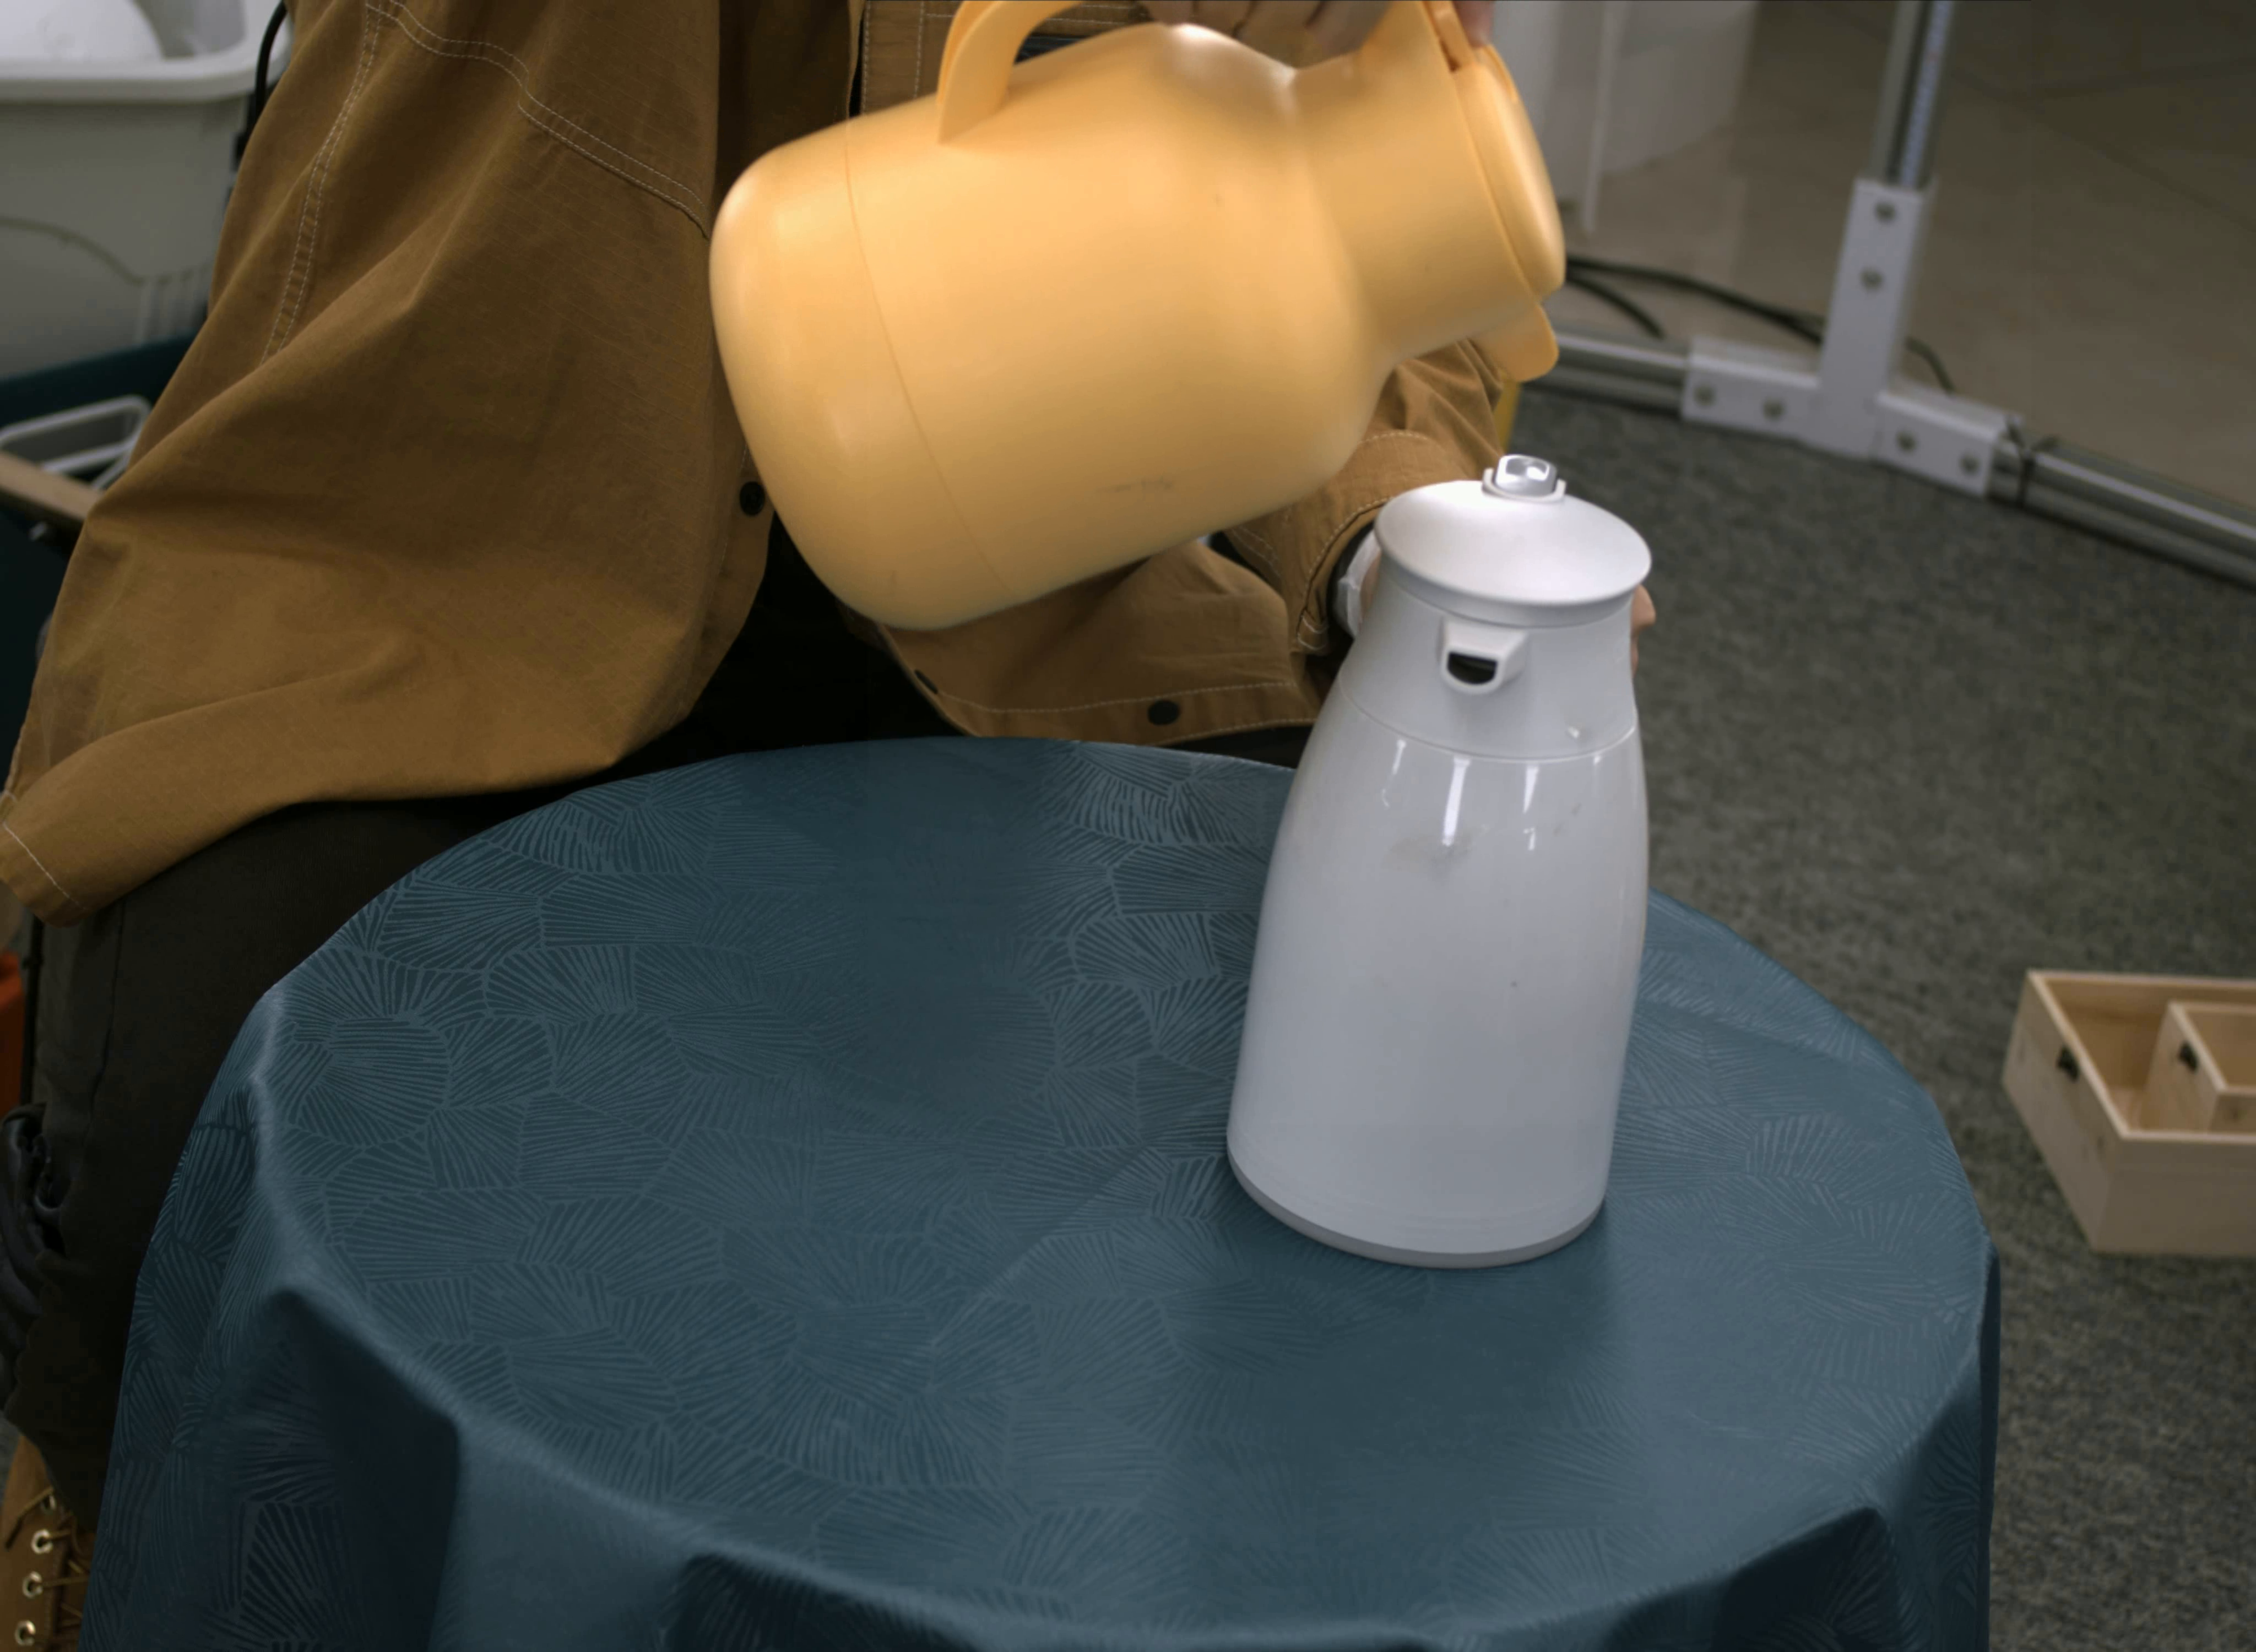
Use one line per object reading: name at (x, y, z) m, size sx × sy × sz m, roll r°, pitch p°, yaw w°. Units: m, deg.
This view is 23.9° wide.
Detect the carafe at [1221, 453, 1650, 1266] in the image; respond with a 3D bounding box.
carafe at (0.114, 0.000, 1.800) m, size 0.132 × 0.248 × 0.168 m, roll 11°, pitch 26°, yaw 8°

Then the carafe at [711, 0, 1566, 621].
carafe at (0.000, -0.189, 1.677) m, size 0.260 × 0.201 × 0.164 m, roll -18°, pitch 30°, yaw 7°
